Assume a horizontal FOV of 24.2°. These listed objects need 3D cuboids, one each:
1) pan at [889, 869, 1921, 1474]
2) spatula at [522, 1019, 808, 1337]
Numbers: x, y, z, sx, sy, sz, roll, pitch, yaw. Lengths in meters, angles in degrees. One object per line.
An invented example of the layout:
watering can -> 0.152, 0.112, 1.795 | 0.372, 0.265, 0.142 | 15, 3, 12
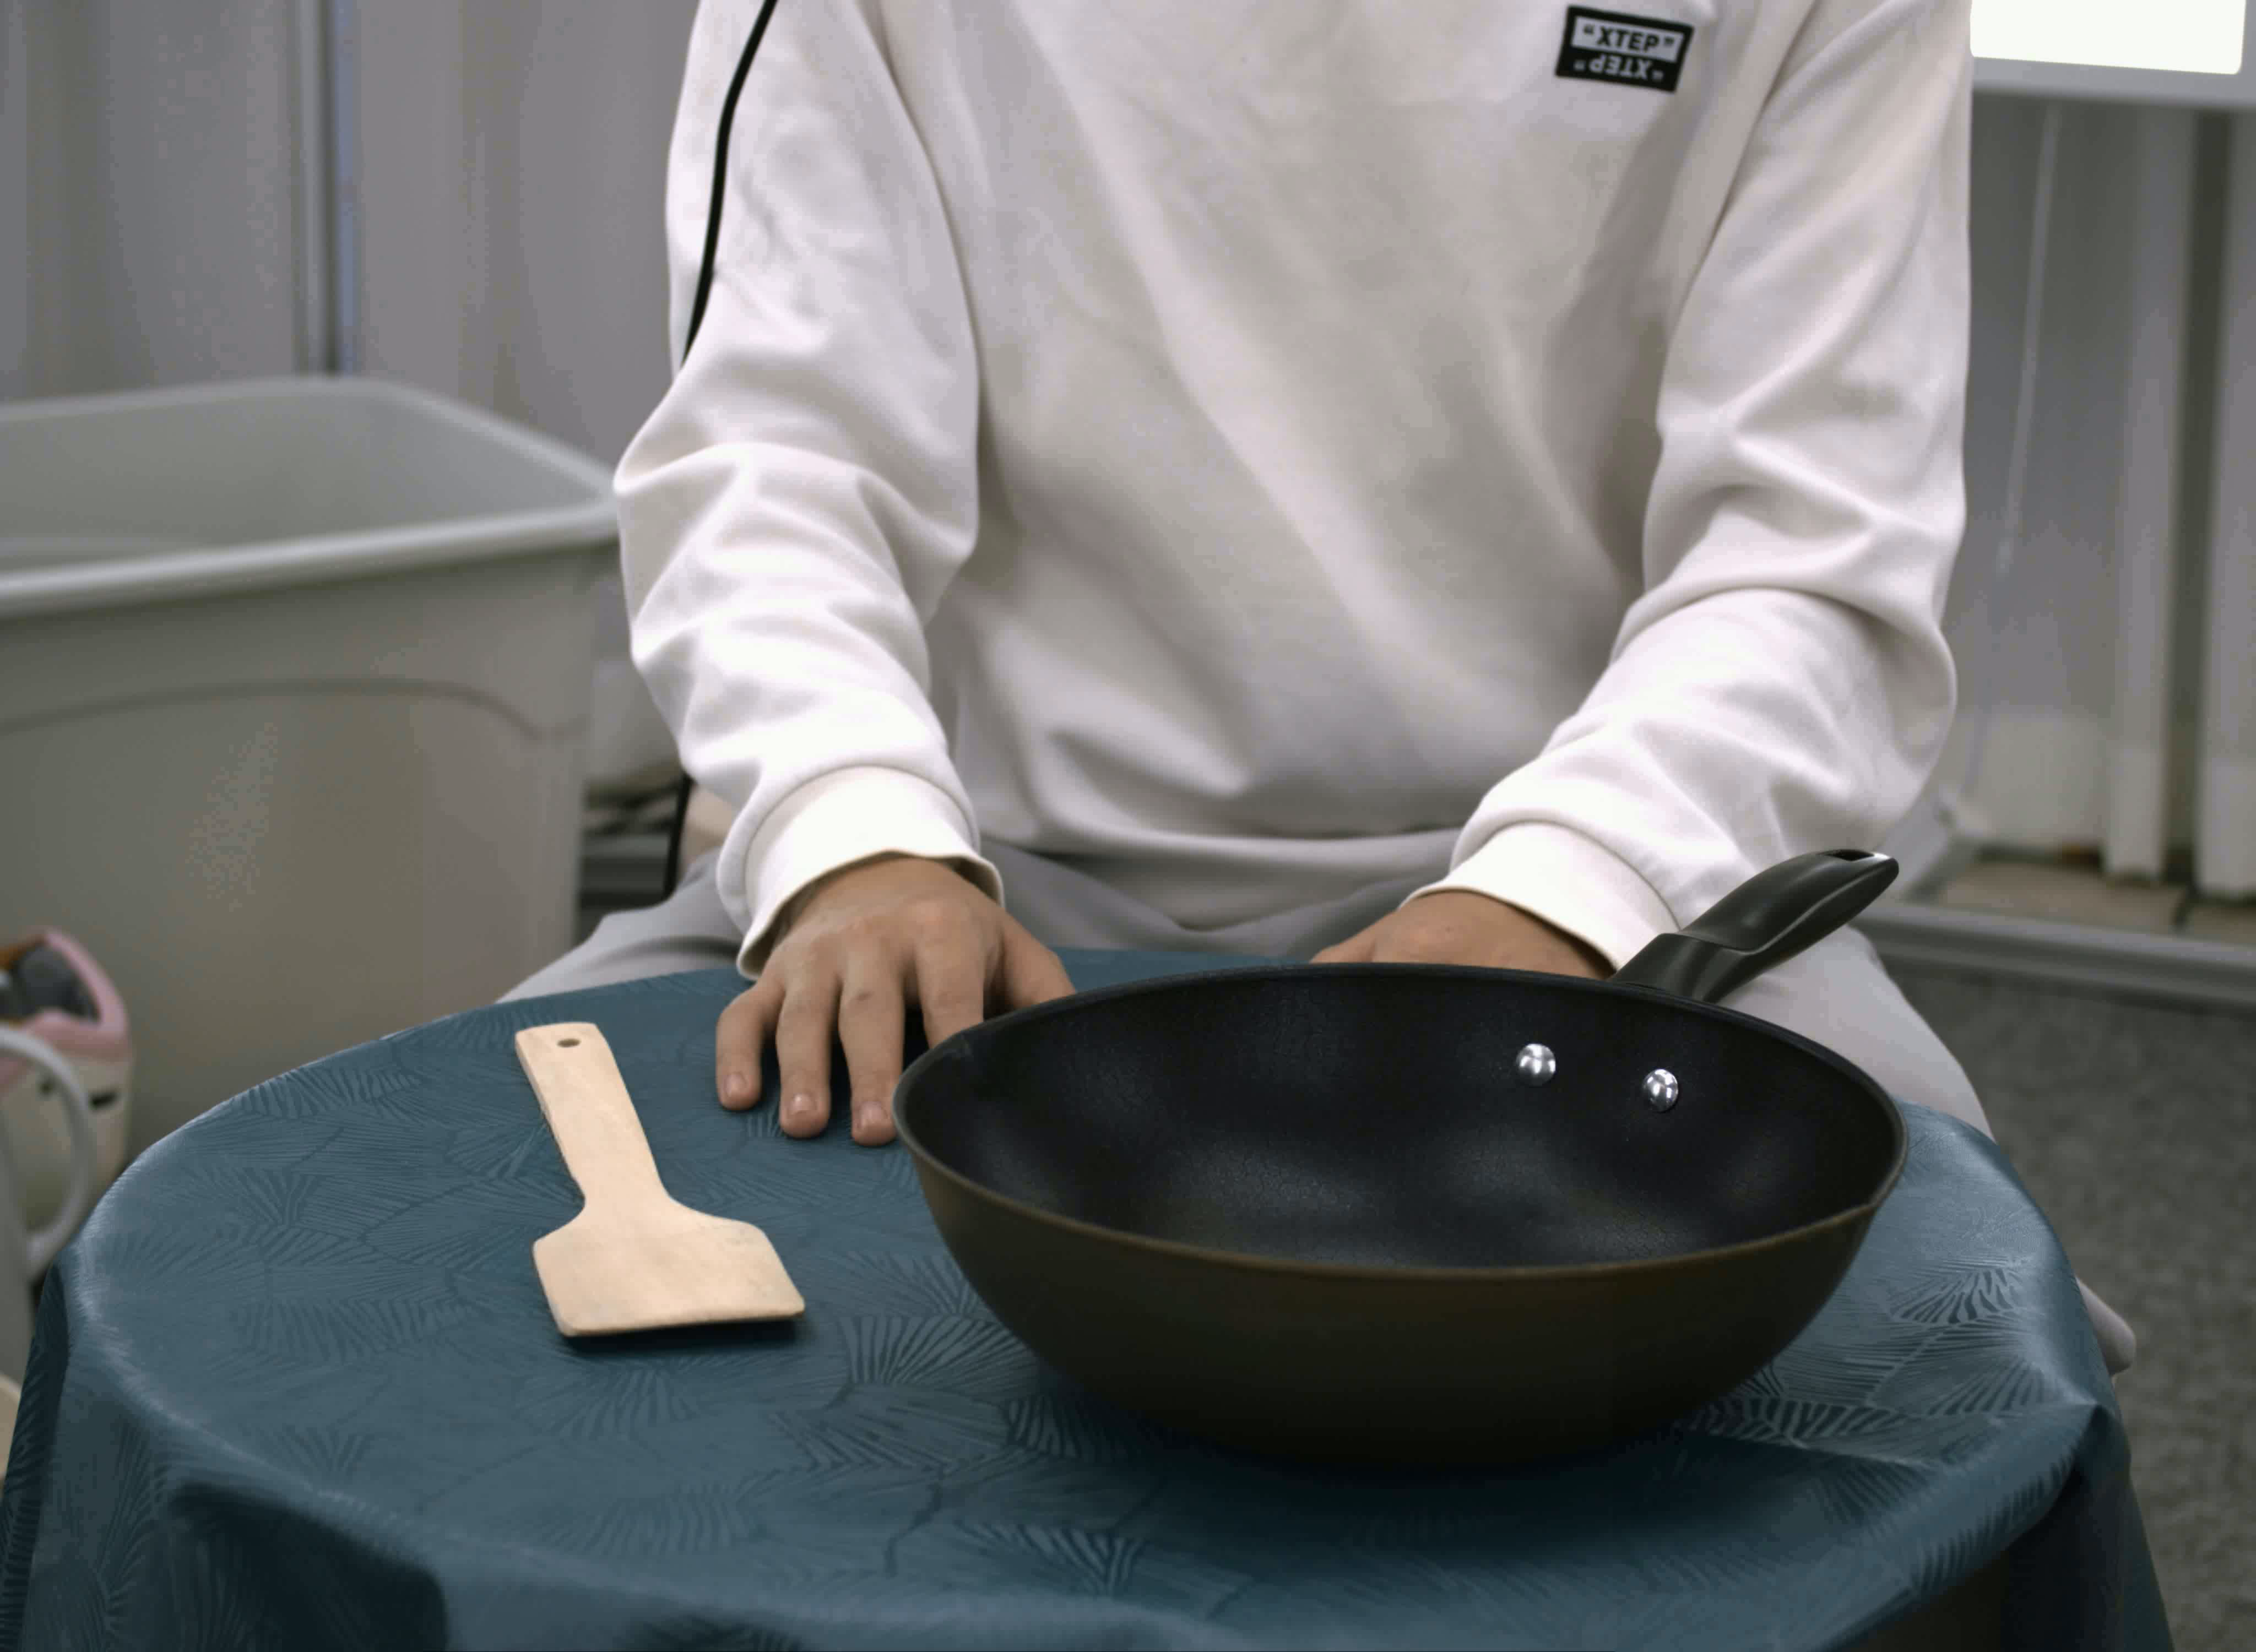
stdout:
pan -> 0.121, 0.095, 1.544 | 0.285, 0.087, 0.465 | 10, 17, 29
spatula -> -0.158, 0.106, 1.630 | 0.072, 0.011, 0.290 | -4, 16, -13
